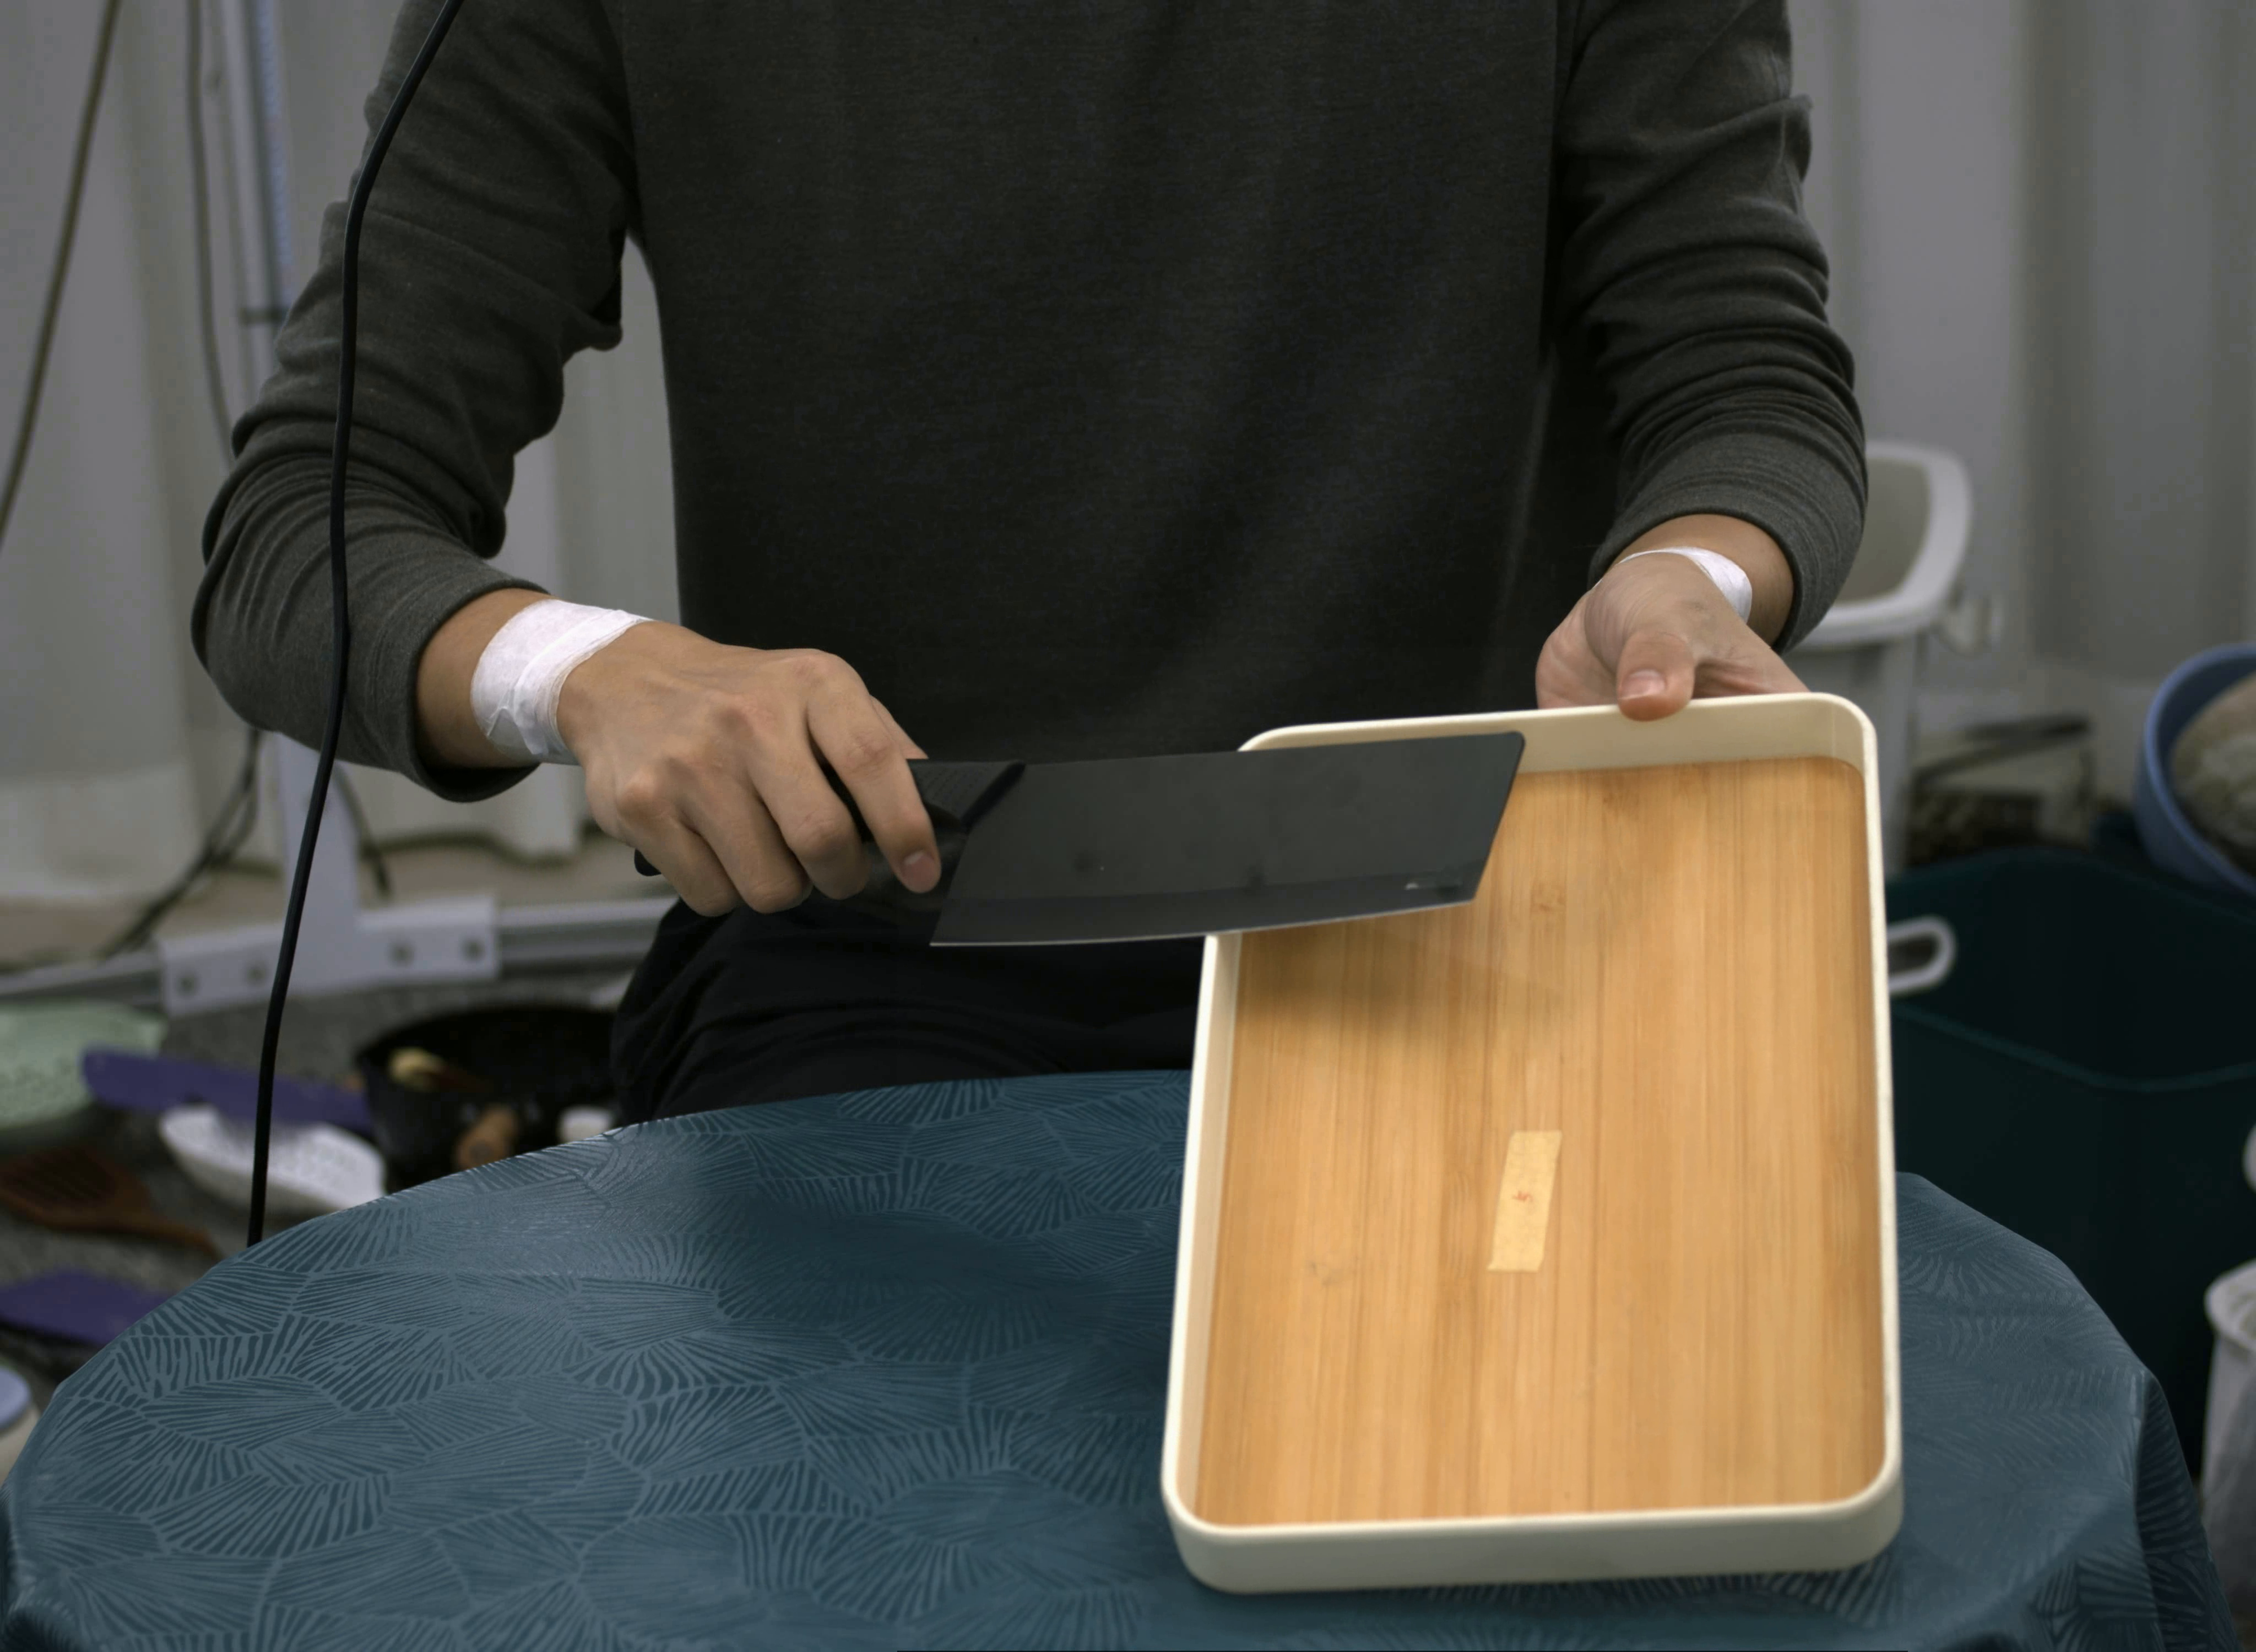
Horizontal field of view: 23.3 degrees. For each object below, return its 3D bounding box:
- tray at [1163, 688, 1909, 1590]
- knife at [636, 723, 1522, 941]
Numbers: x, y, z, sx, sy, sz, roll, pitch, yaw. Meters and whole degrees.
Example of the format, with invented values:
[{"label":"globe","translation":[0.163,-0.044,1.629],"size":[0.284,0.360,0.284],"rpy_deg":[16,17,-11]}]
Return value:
[{"label":"tray","translation":[0.113,0.079,1.486],"size":[0.191,0.027,0.305],"rpy_deg":[-3,44,9]},{"label":"knife","translation":[-0.022,0.003,1.598],"size":[0.303,0.020,0.082],"rpy_deg":[0,51,35]}]
